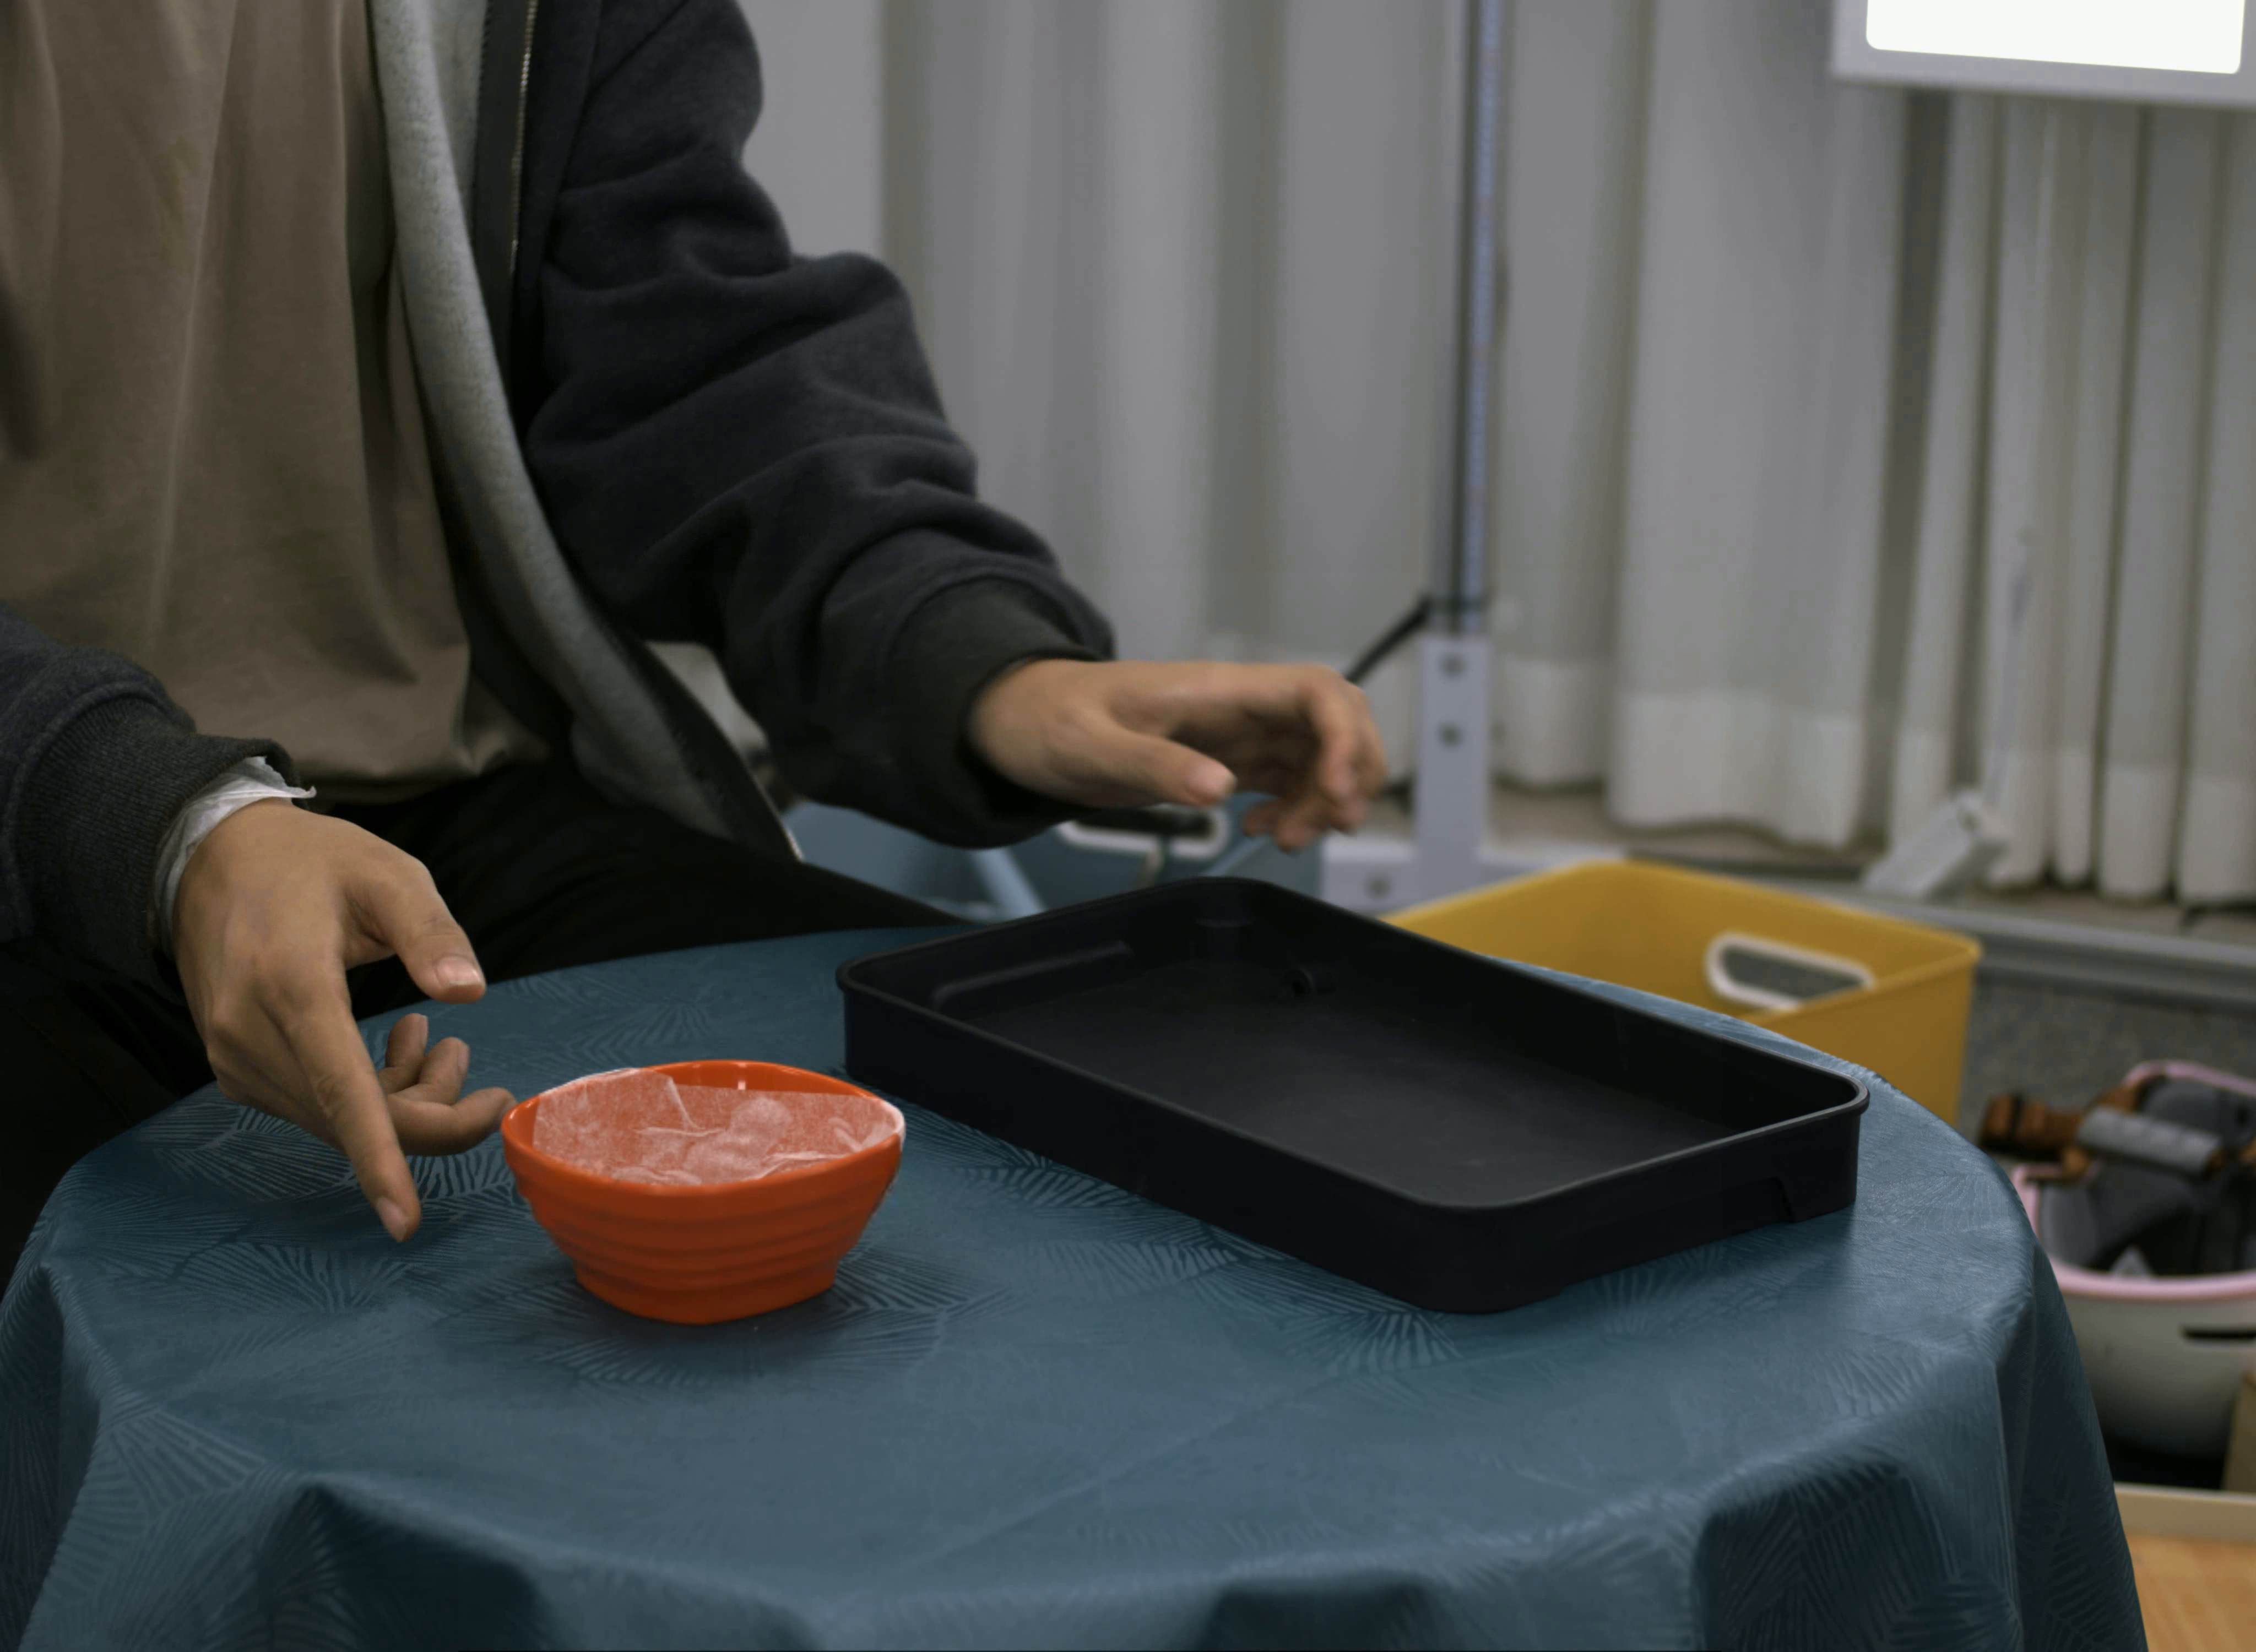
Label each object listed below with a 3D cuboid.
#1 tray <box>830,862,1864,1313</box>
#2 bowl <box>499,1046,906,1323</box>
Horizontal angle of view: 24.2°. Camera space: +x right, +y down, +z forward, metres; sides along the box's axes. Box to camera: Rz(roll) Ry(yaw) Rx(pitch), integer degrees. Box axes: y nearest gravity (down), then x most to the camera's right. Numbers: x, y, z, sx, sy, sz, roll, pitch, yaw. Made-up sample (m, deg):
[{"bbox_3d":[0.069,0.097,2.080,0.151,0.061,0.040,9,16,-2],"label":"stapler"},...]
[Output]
[{"bbox_3d":[0.064,0.078,1.676,0.185,0.037,0.313,-12,21,-39],"label":"tray"},{"bbox_3d":[-0.124,0.106,1.535,0.118,0.052,0.118,1,18,0],"label":"bowl"}]
